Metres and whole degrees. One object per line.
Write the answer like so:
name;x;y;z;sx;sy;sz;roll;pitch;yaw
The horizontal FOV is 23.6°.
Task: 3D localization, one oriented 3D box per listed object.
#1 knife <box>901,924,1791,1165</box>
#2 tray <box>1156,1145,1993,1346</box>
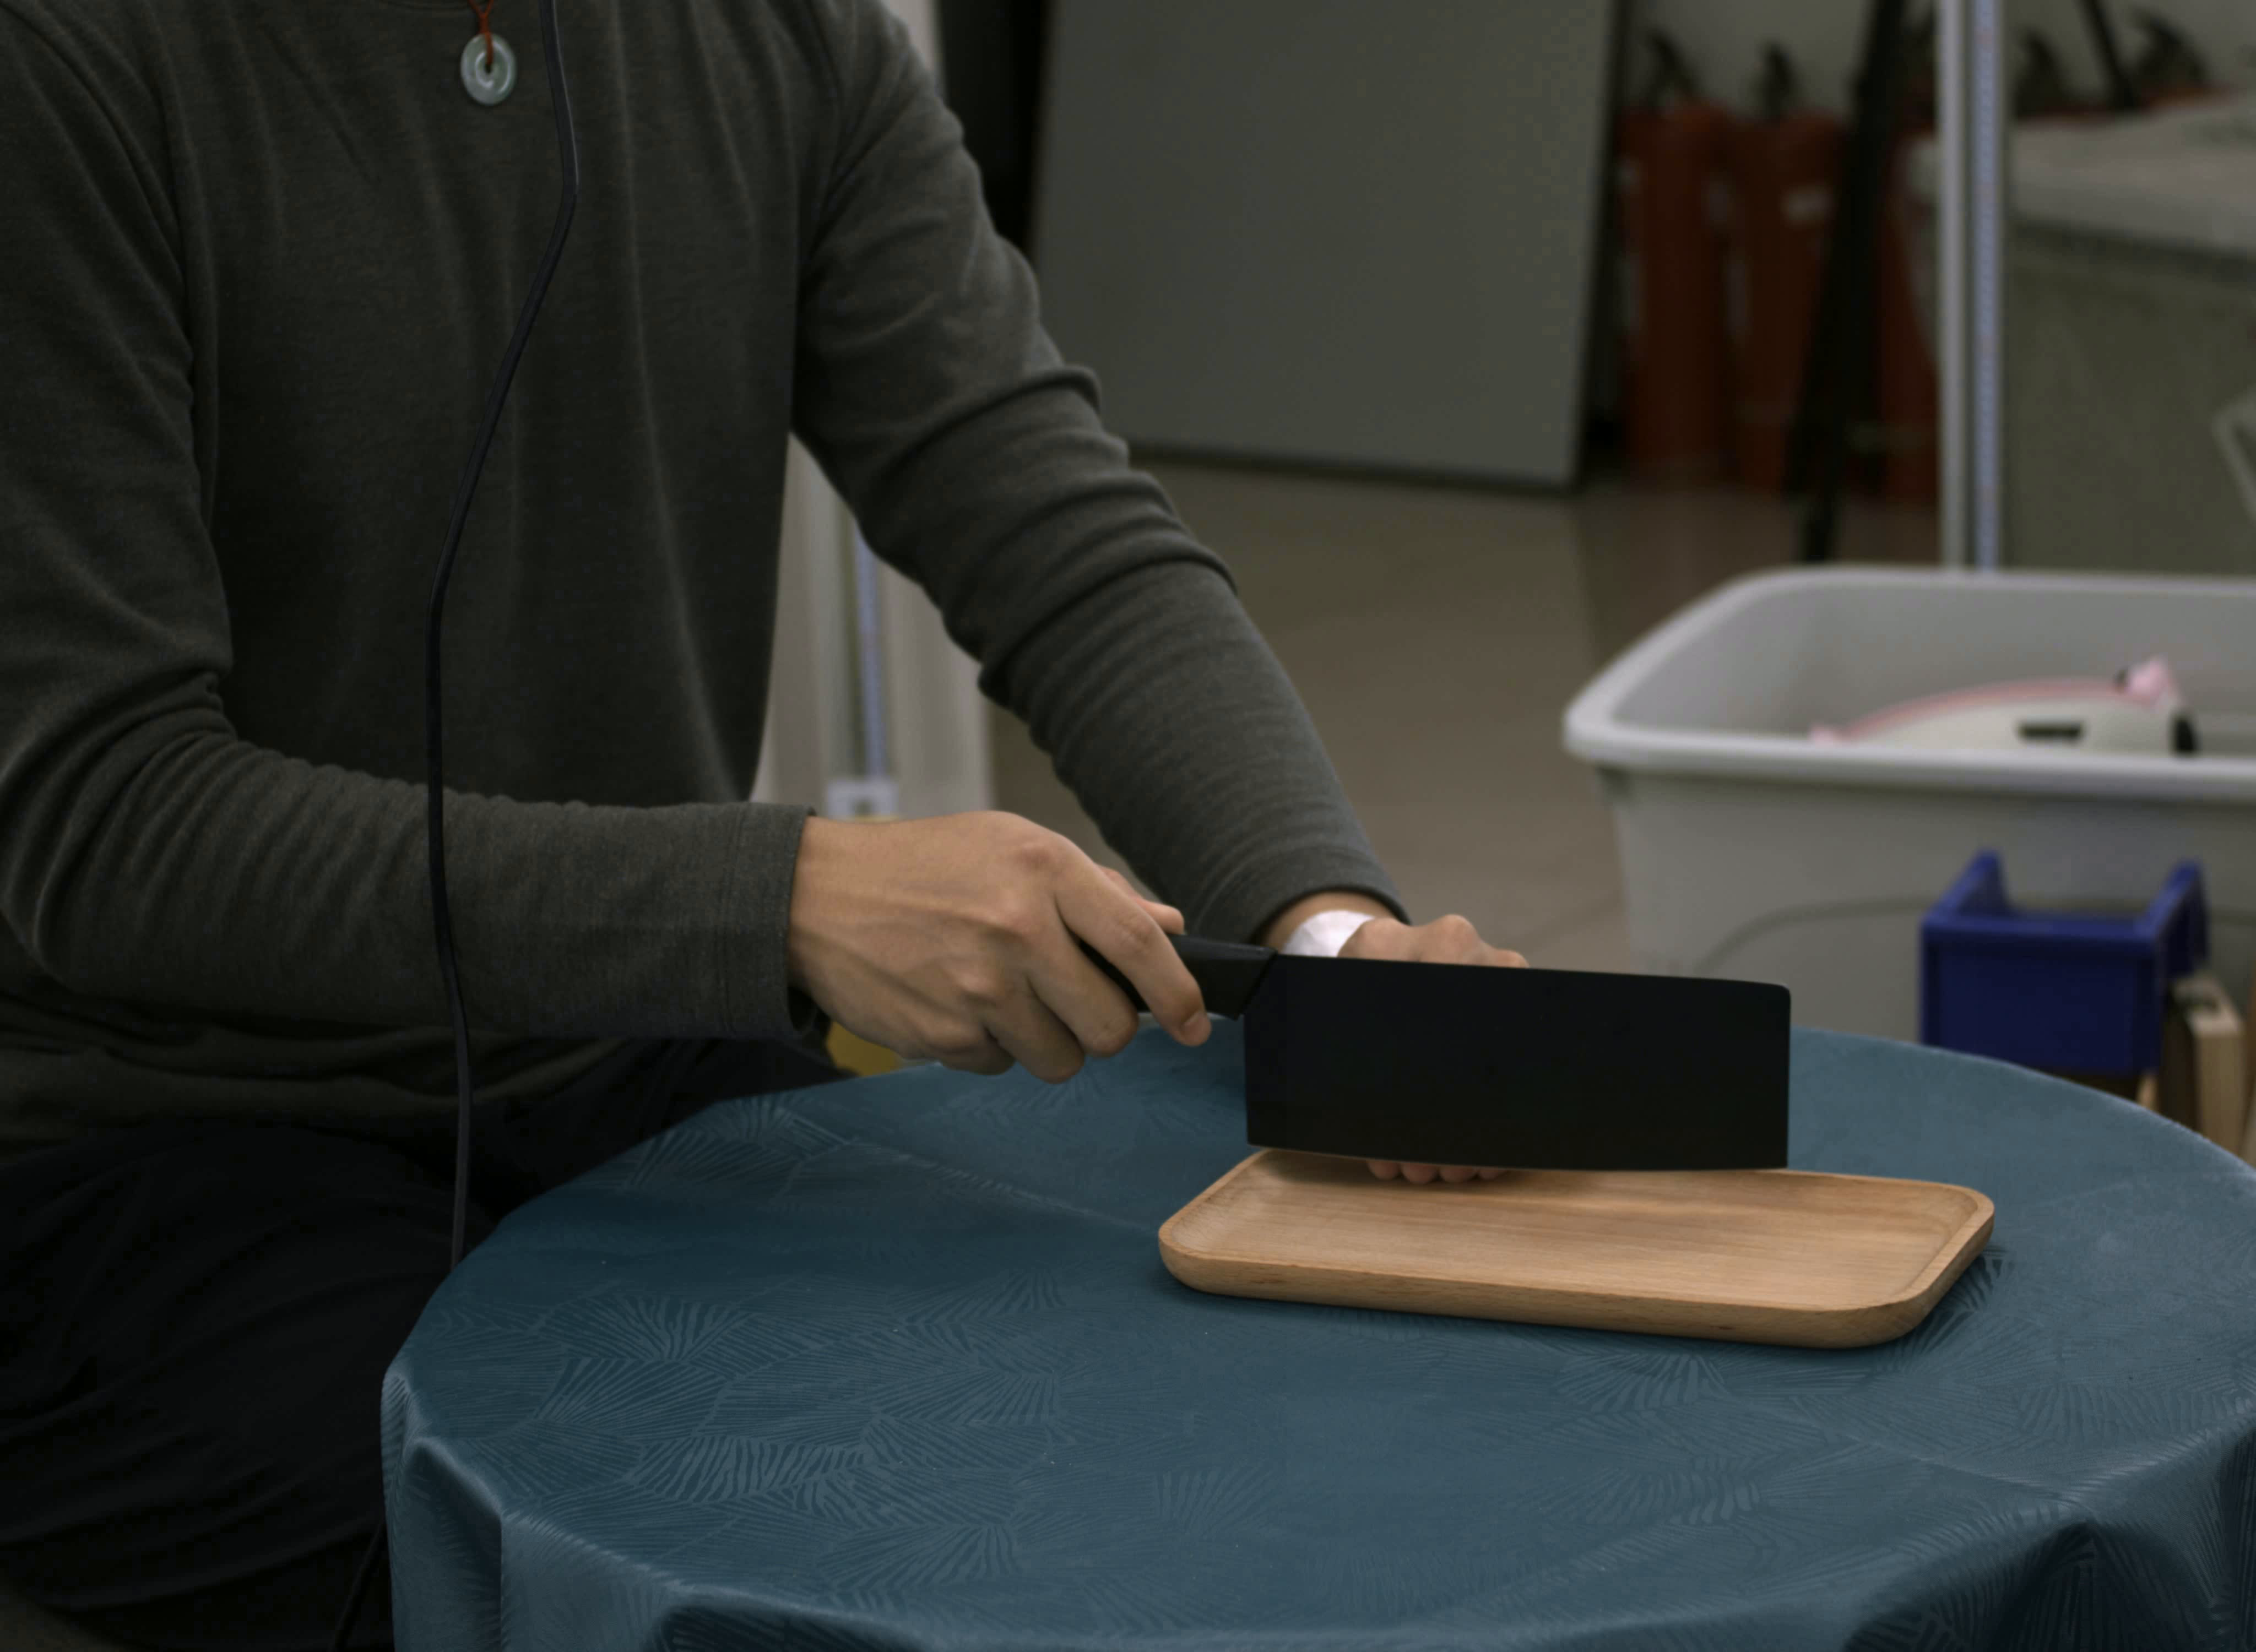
knife;0.067;0.068;1.723;0.302;0.082;0.020;7;11;21
tray;0.138;0.129;1.671;0.251;0.023;0.129;1;12;27
